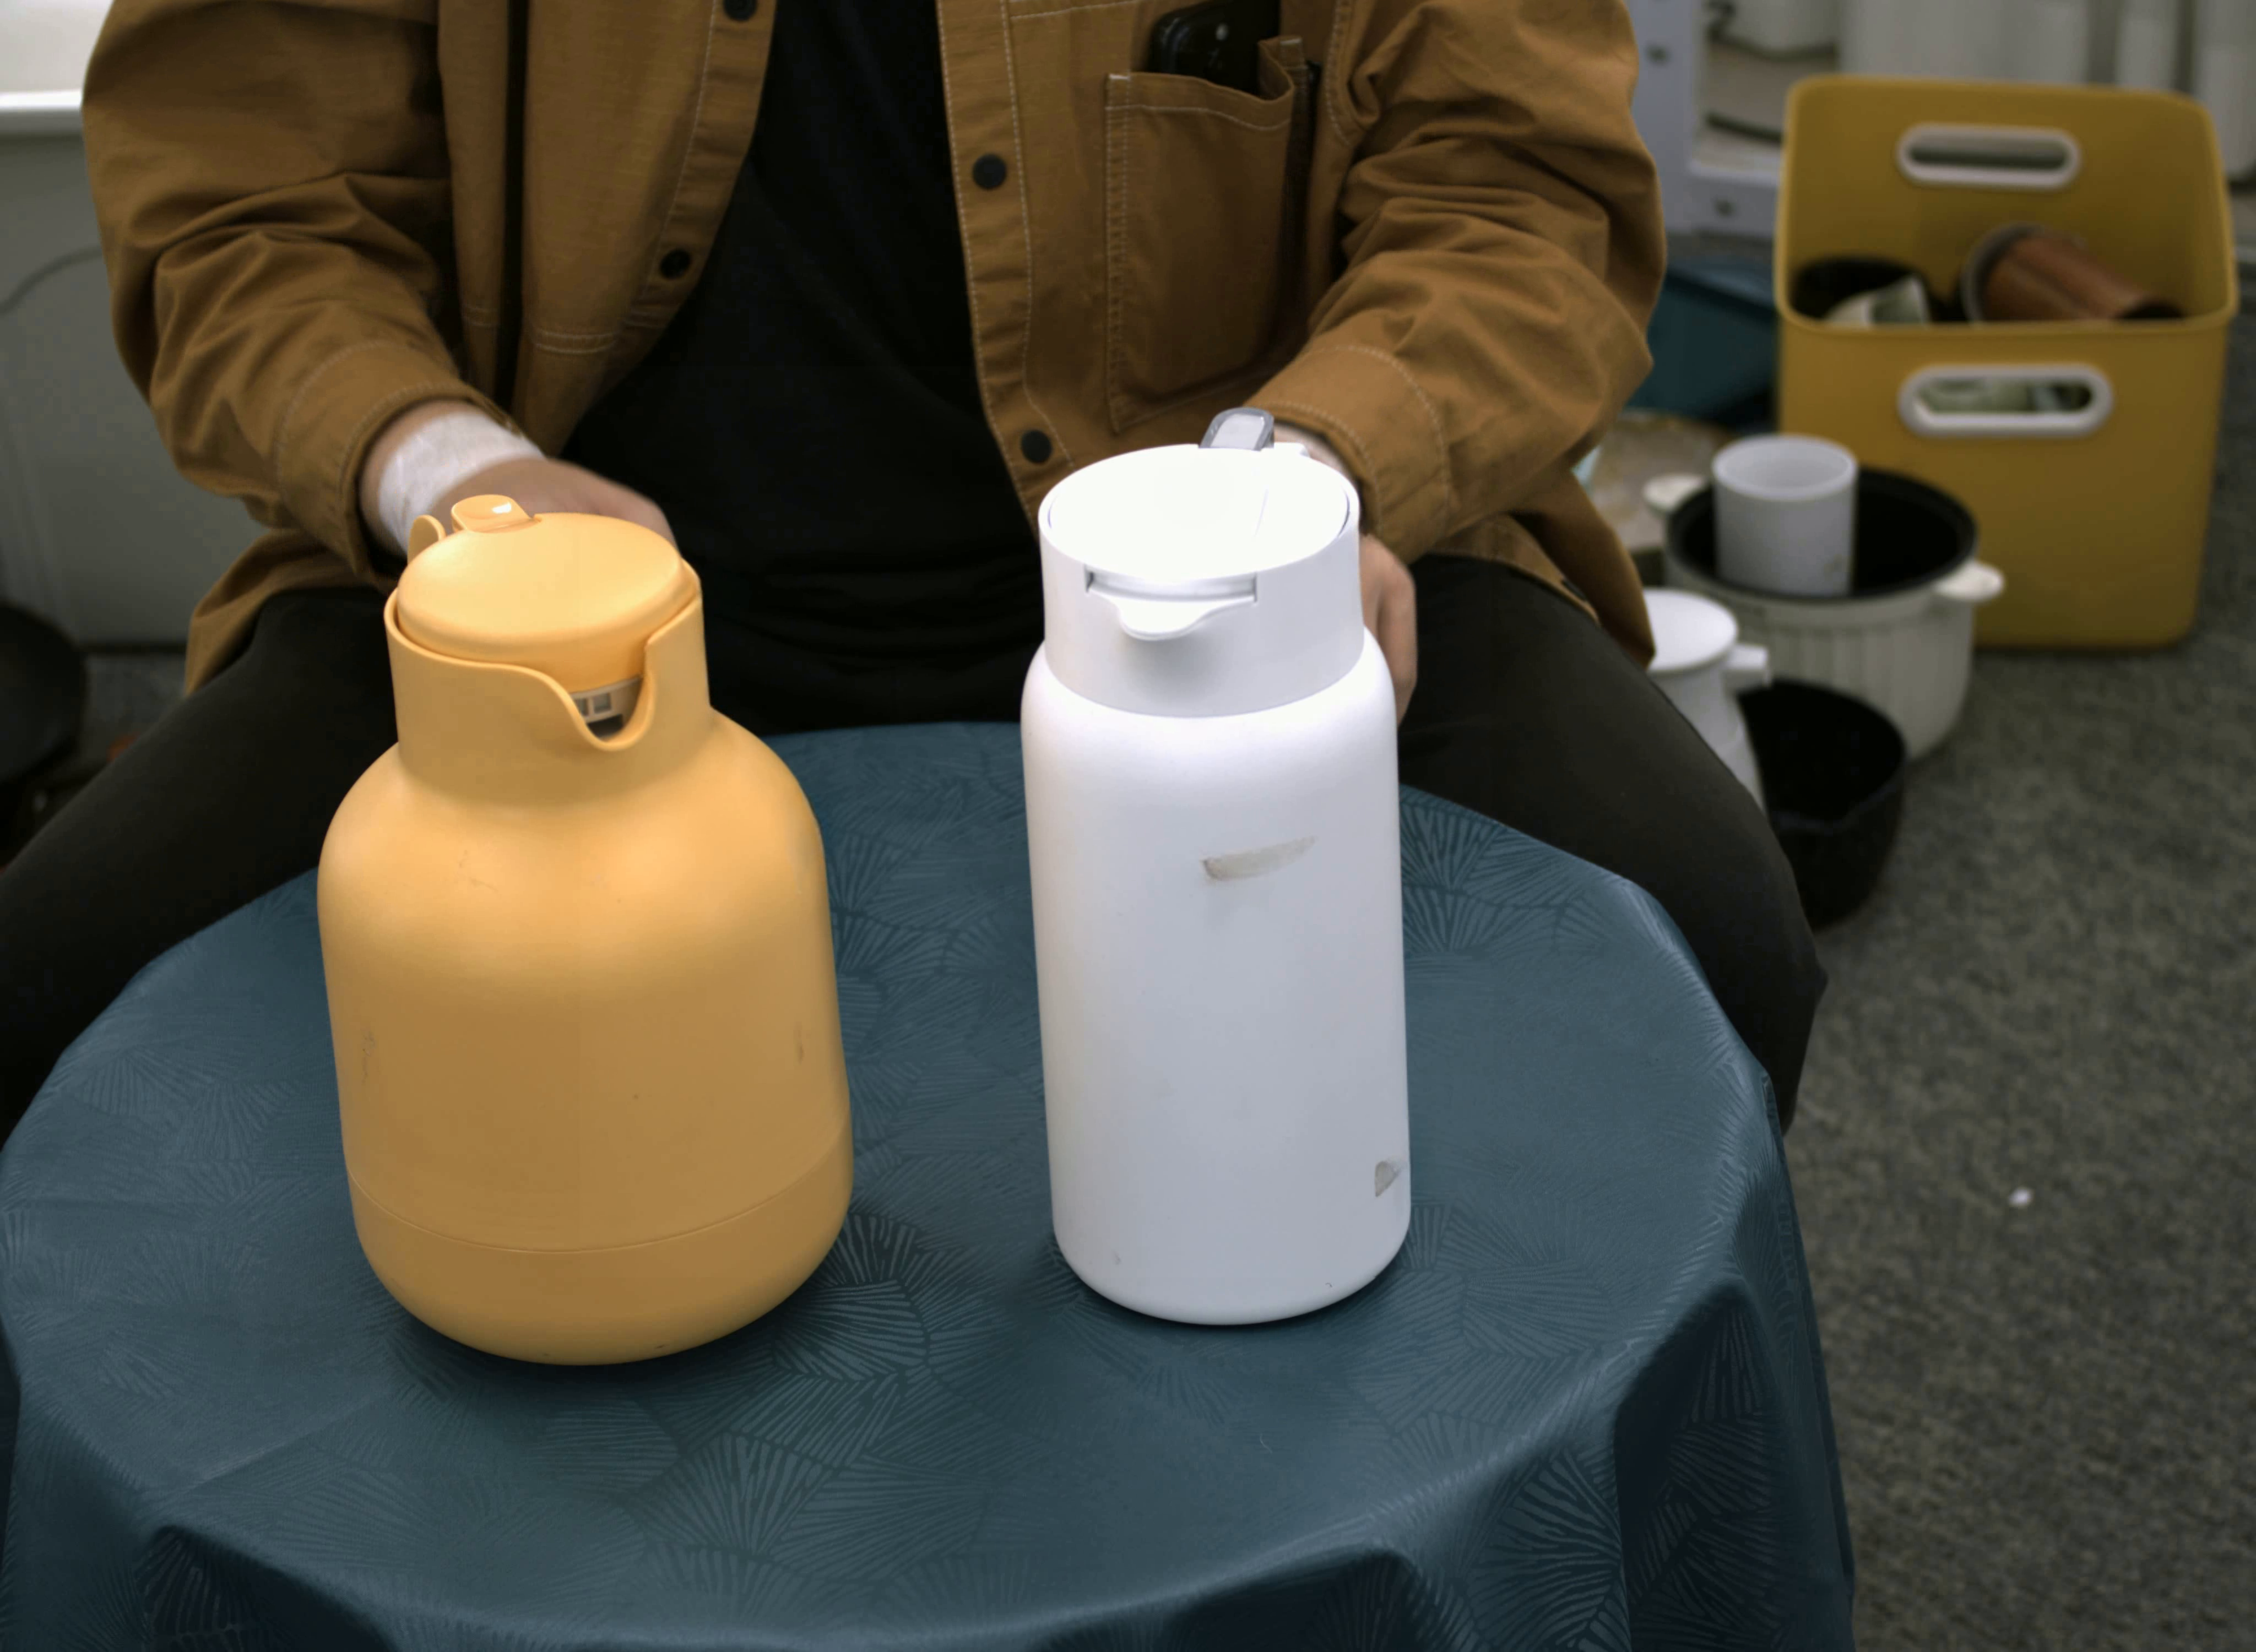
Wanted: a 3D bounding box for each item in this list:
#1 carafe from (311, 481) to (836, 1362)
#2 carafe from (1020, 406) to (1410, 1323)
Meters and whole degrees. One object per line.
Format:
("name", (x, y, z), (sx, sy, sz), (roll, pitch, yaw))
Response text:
("carafe", (-0.182, 0.021, 1.789), (0.164, 0.257, 0.204), (-9, 28, -19))
("carafe", (0.030, 0.009, 1.787), (0.123, 0.266, 0.176), (1, 26, 13))
